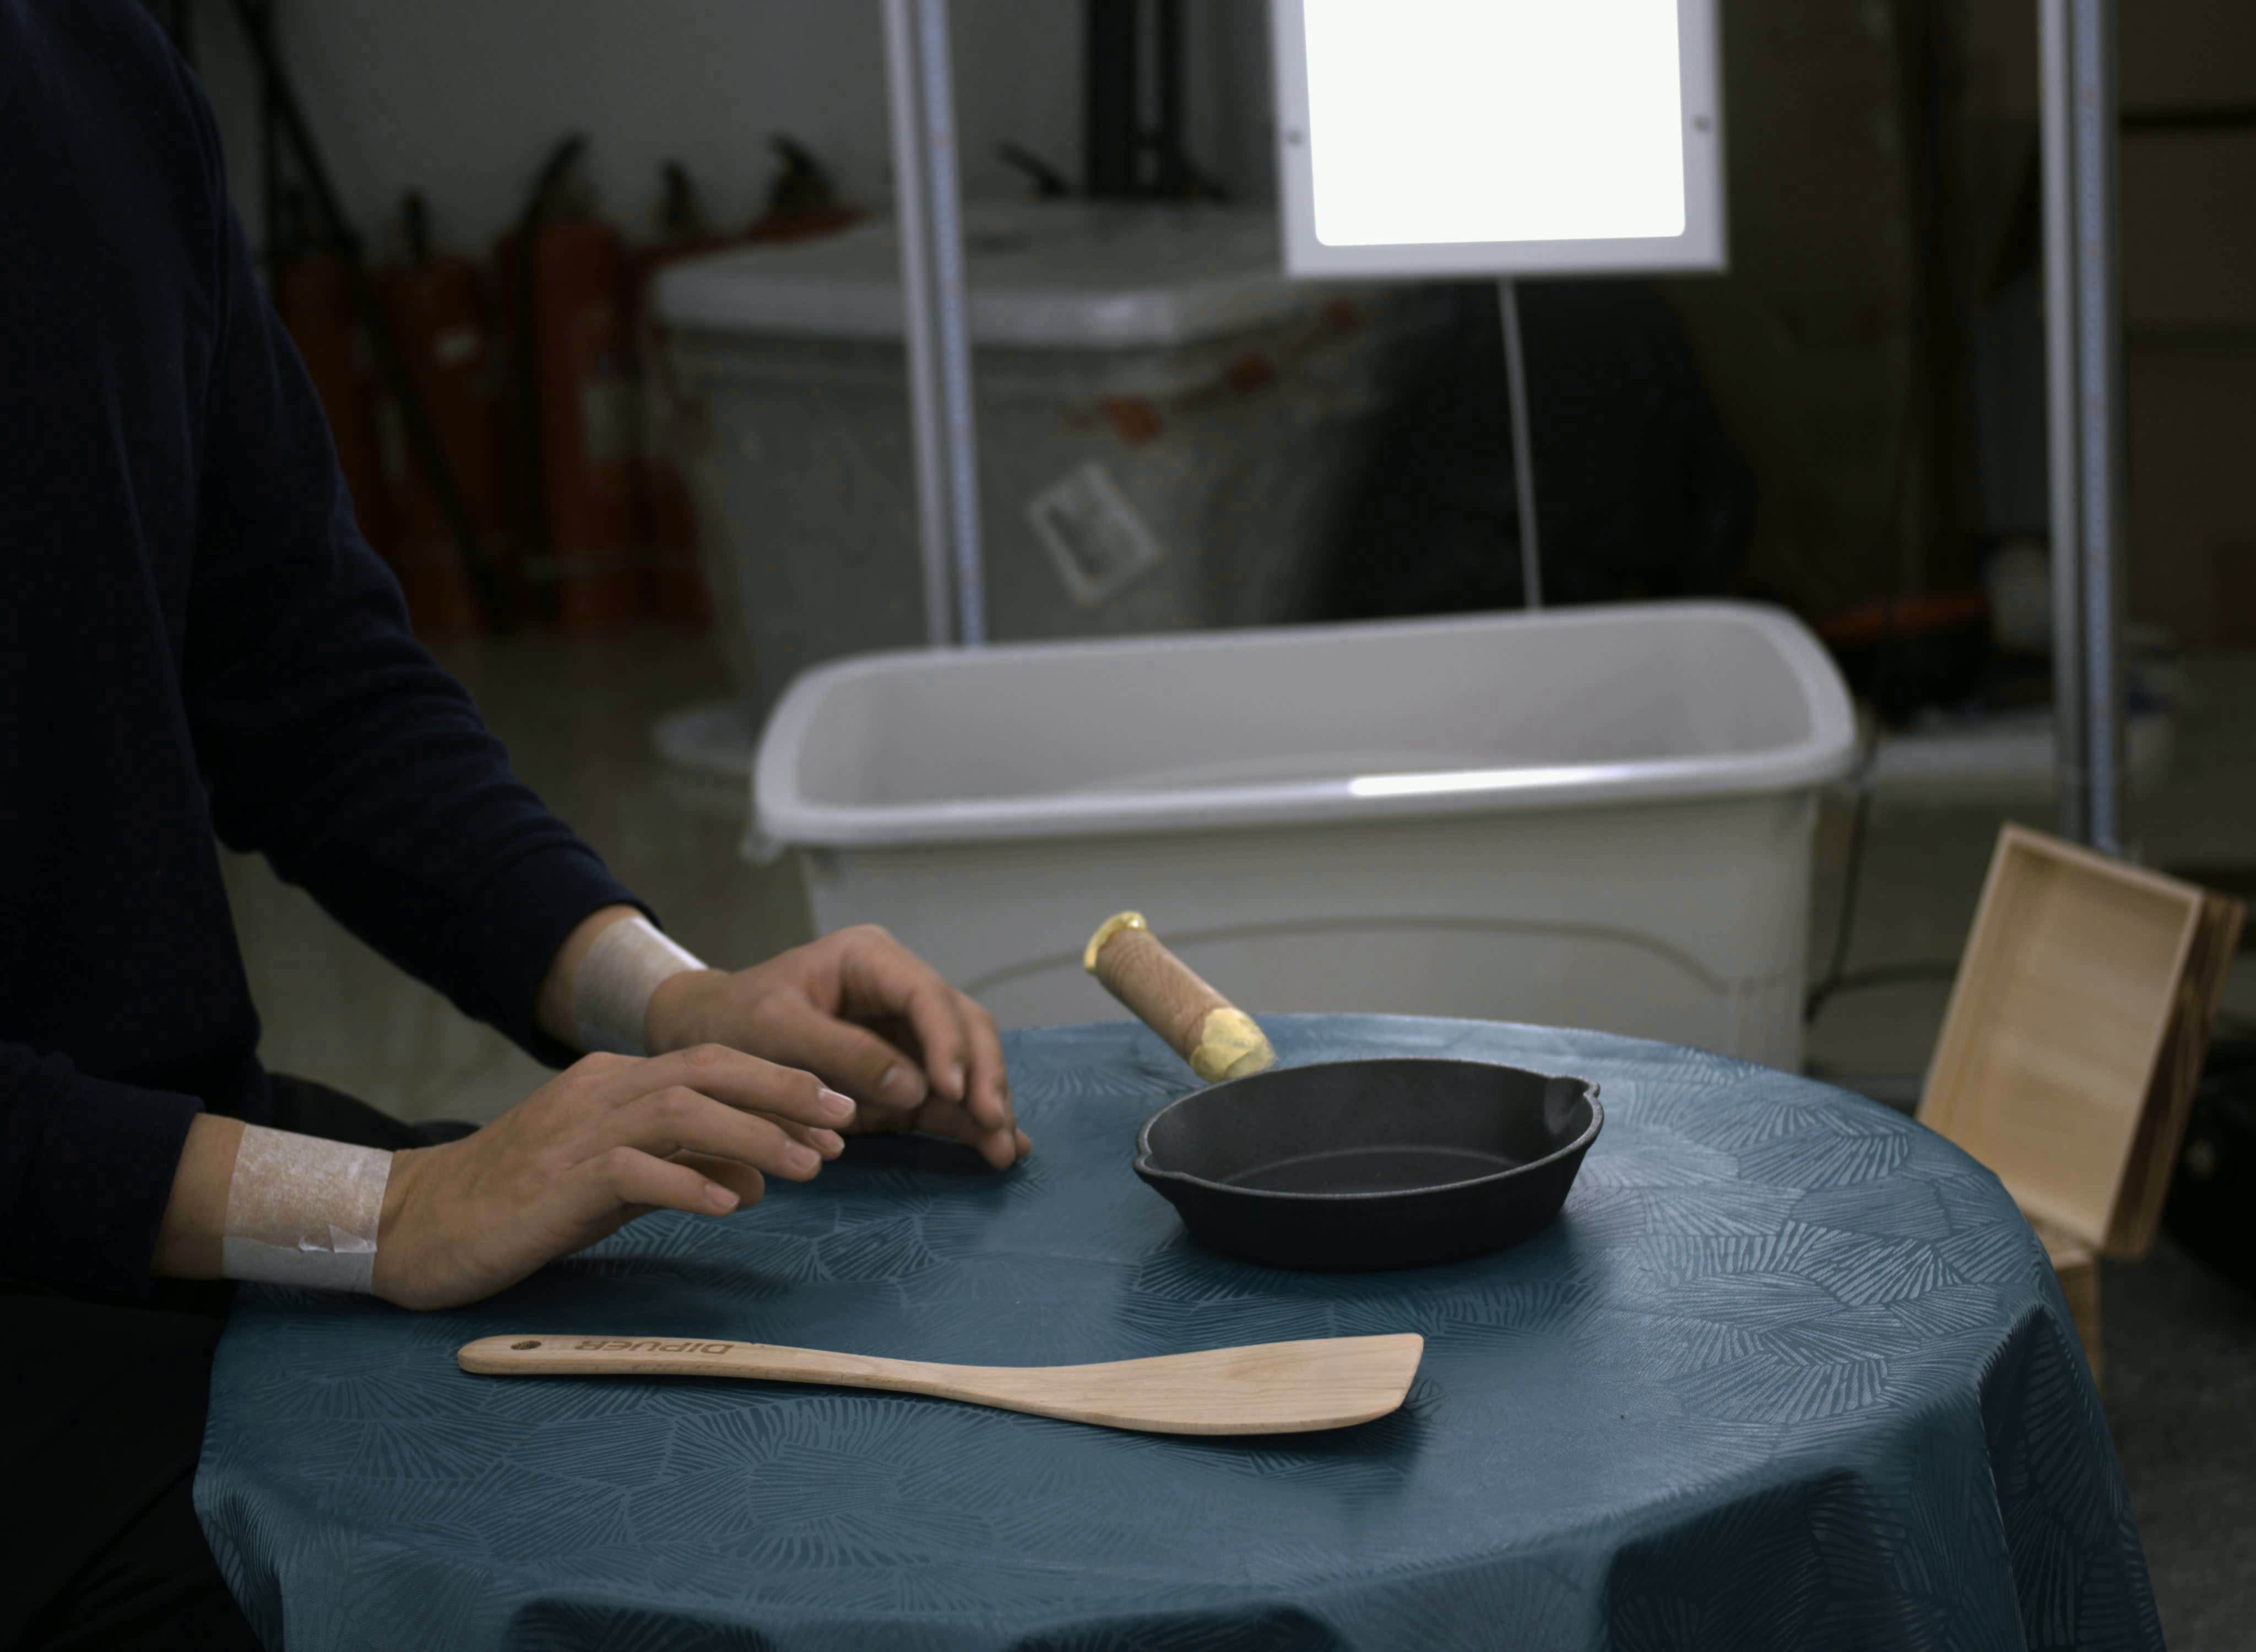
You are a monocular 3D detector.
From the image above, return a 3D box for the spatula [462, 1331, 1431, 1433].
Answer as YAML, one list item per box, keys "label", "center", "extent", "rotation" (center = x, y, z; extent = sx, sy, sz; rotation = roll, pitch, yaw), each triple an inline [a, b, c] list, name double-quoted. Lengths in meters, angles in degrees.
- label: "spatula"
  center: [-0.059, 0.168, 1.717]
  extent: [0.332, 0.016, 0.078]
  rotation: [1, 14, 22]

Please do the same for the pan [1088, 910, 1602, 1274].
- label: "pan"
  center: [0.052, 0.089, 1.923]
  extent: [0.166, 0.050, 0.328]
  rotation: [-10, 16, -18]
